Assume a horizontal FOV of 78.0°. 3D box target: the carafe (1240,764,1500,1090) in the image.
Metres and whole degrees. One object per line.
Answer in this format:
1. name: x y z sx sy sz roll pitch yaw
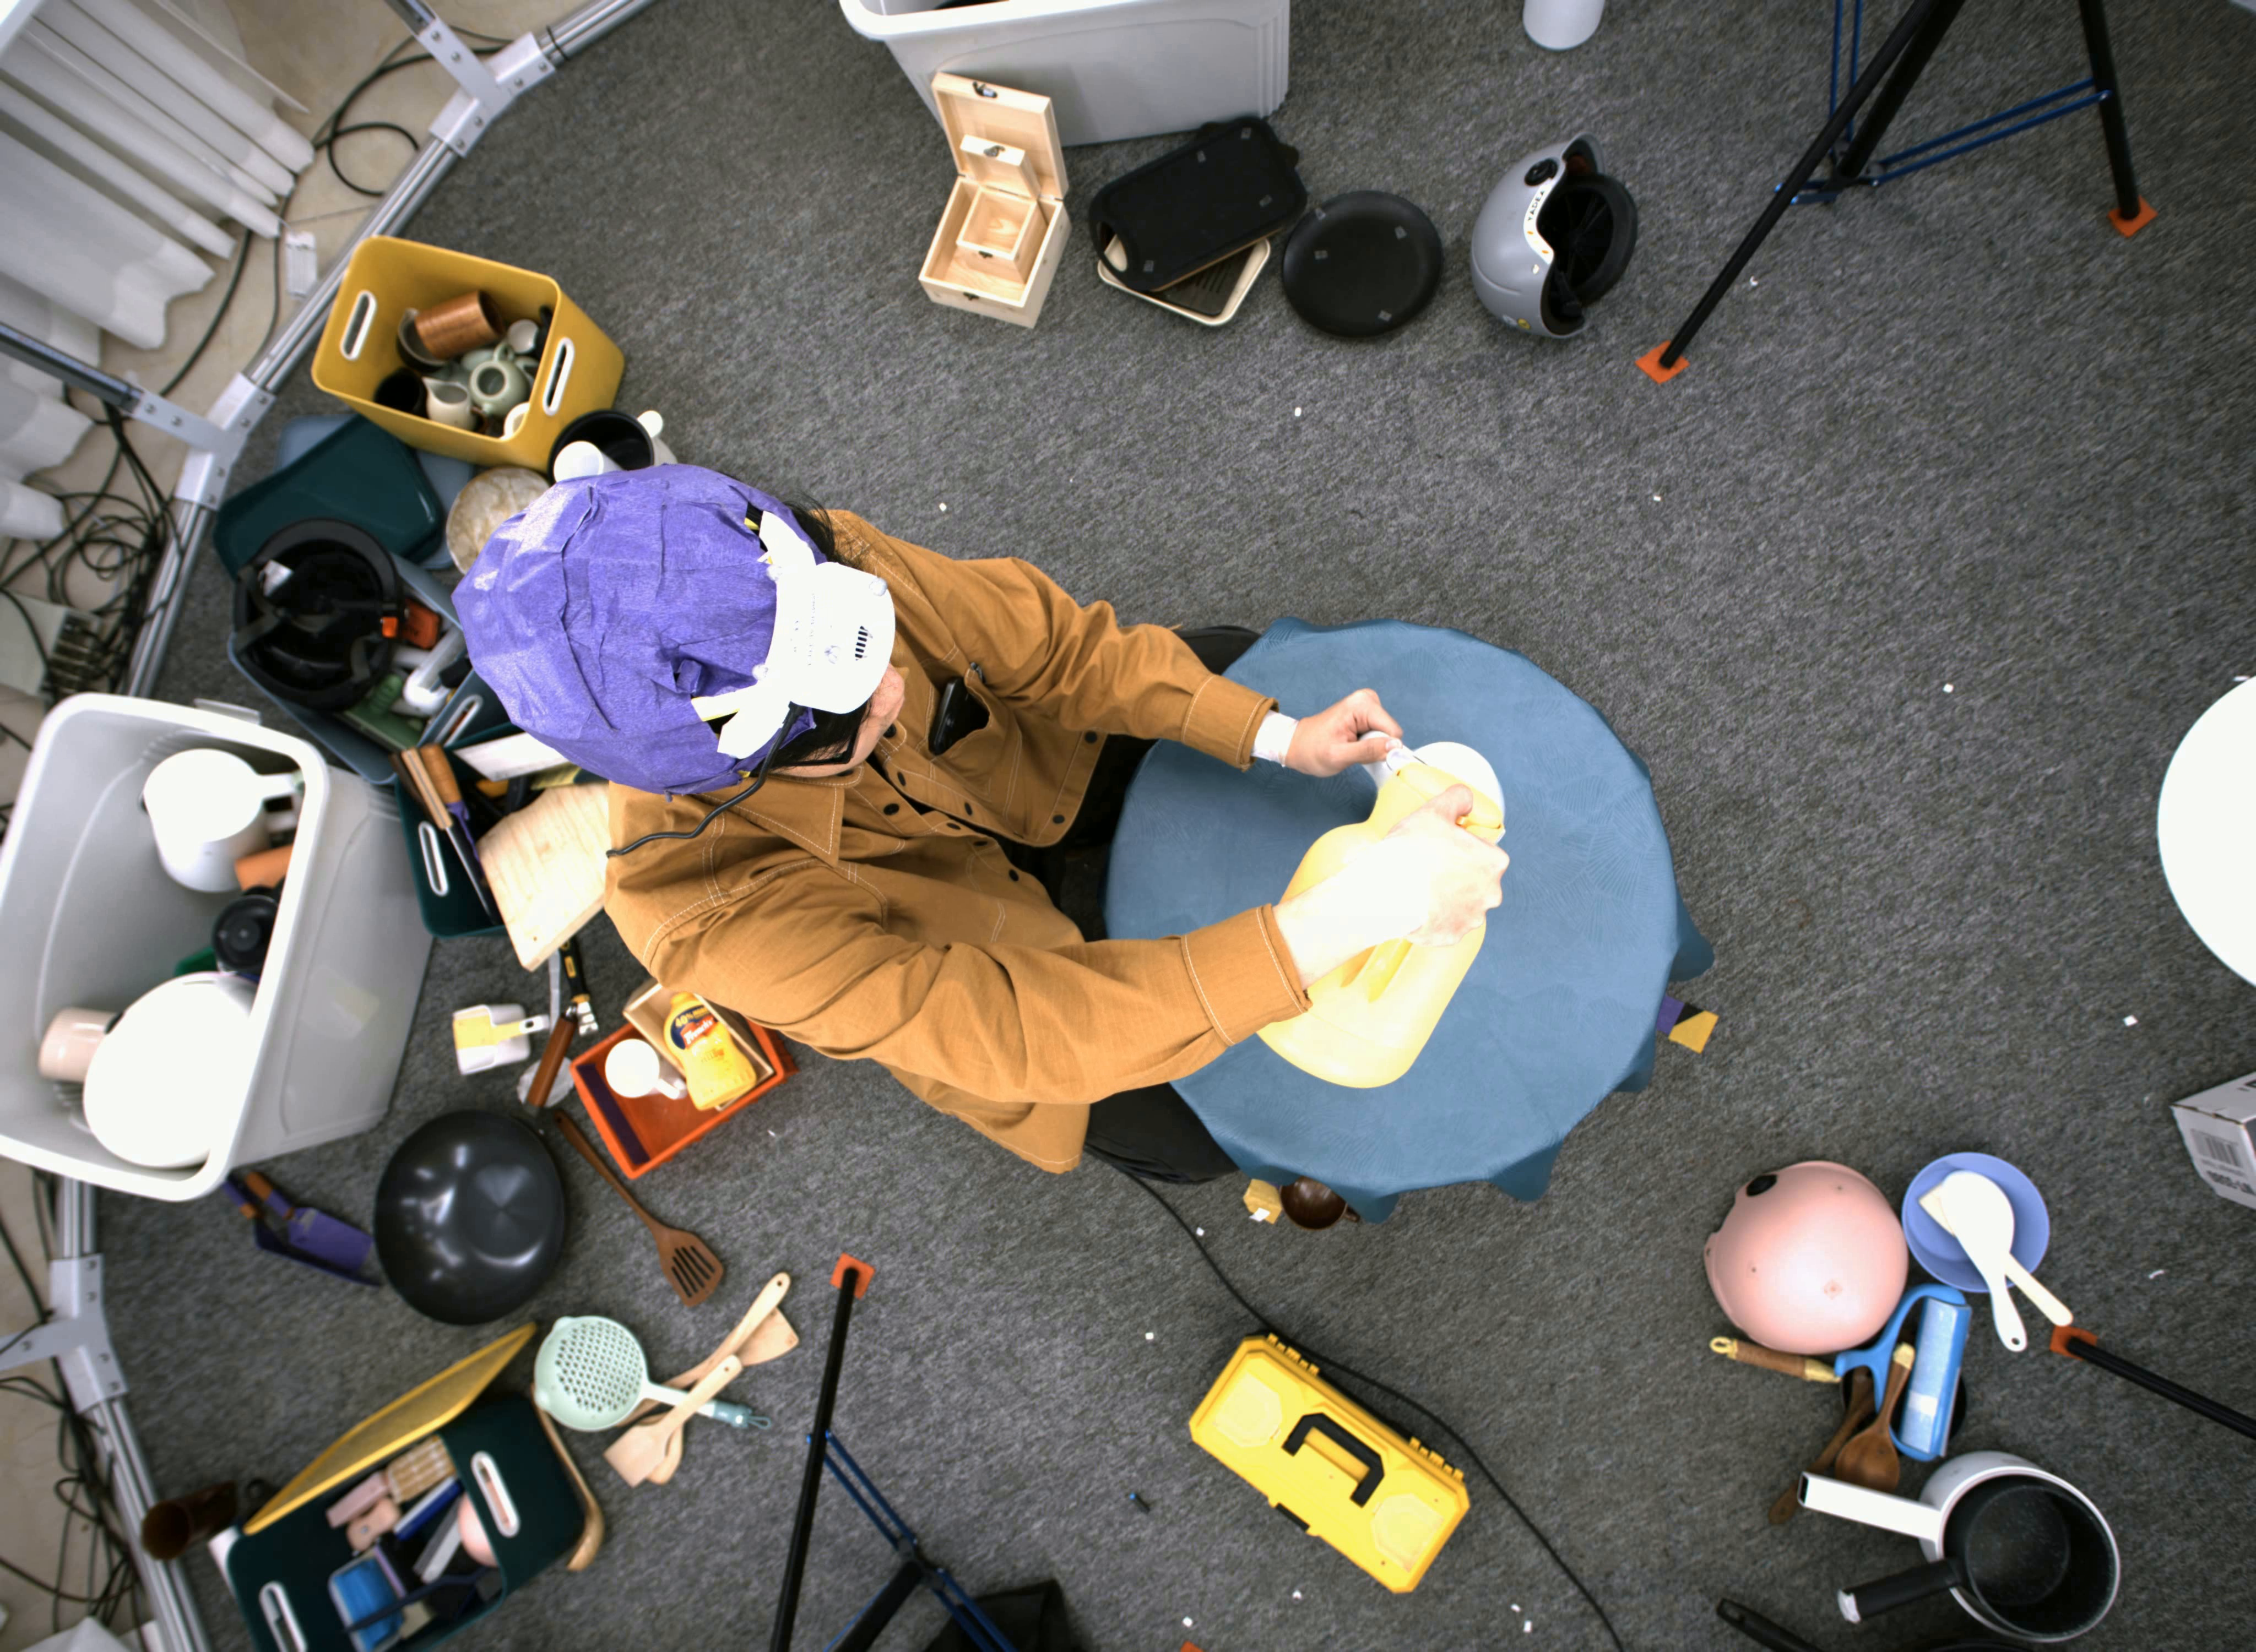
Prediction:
1. carafe: 0.203 0.081 1.118 0.163 0.199 0.265 25 110 6

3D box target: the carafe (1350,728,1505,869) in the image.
1. carafe: 0.286 -0.029 1.337 0.167 0.249 0.133 40 93 12
